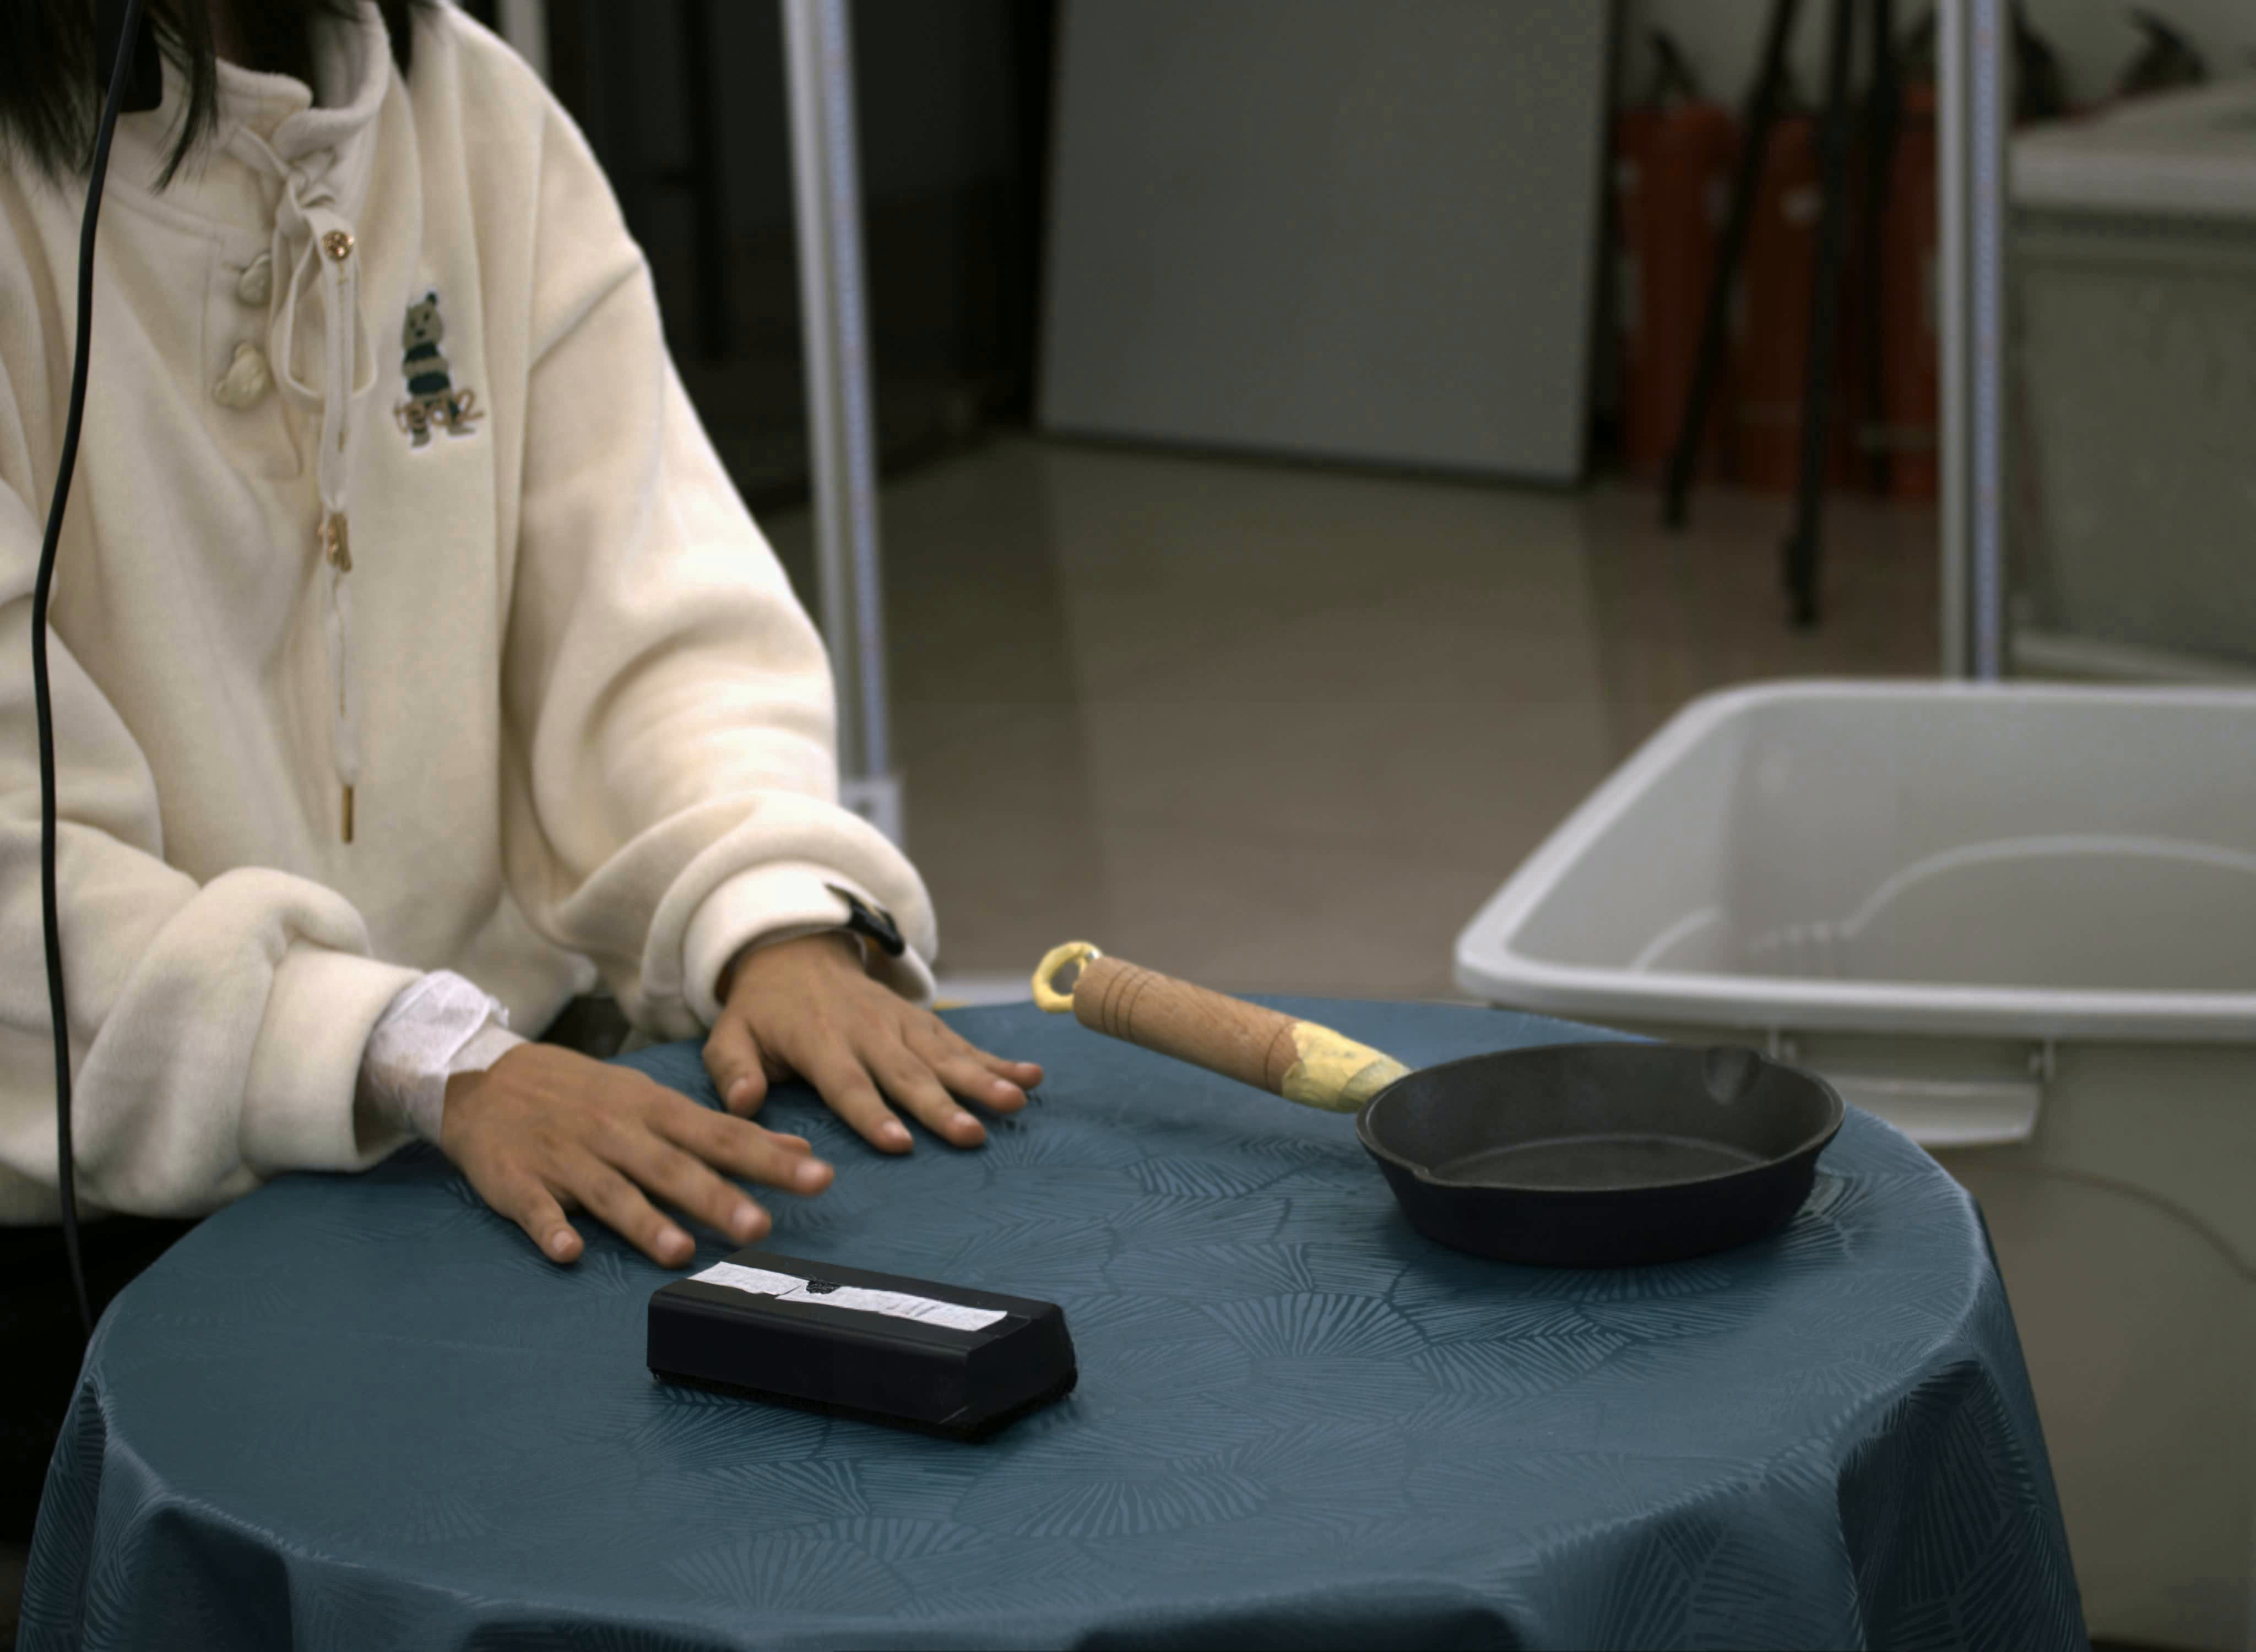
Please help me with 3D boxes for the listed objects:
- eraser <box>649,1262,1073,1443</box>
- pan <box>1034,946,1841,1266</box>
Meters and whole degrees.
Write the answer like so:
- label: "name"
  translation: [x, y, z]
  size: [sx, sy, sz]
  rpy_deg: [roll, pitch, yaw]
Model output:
- label: "eraser"
  translation: [-0.078, 0.155, 1.600]
  size: [0.126, 0.031, 0.052]
  rpy_deg: [5, 16, 37]
- label: "pan"
  translation: [0.090, 0.087, 1.774]
  size: [0.327, 0.050, 0.165]
  rpy_deg: [11, 21, 44]
